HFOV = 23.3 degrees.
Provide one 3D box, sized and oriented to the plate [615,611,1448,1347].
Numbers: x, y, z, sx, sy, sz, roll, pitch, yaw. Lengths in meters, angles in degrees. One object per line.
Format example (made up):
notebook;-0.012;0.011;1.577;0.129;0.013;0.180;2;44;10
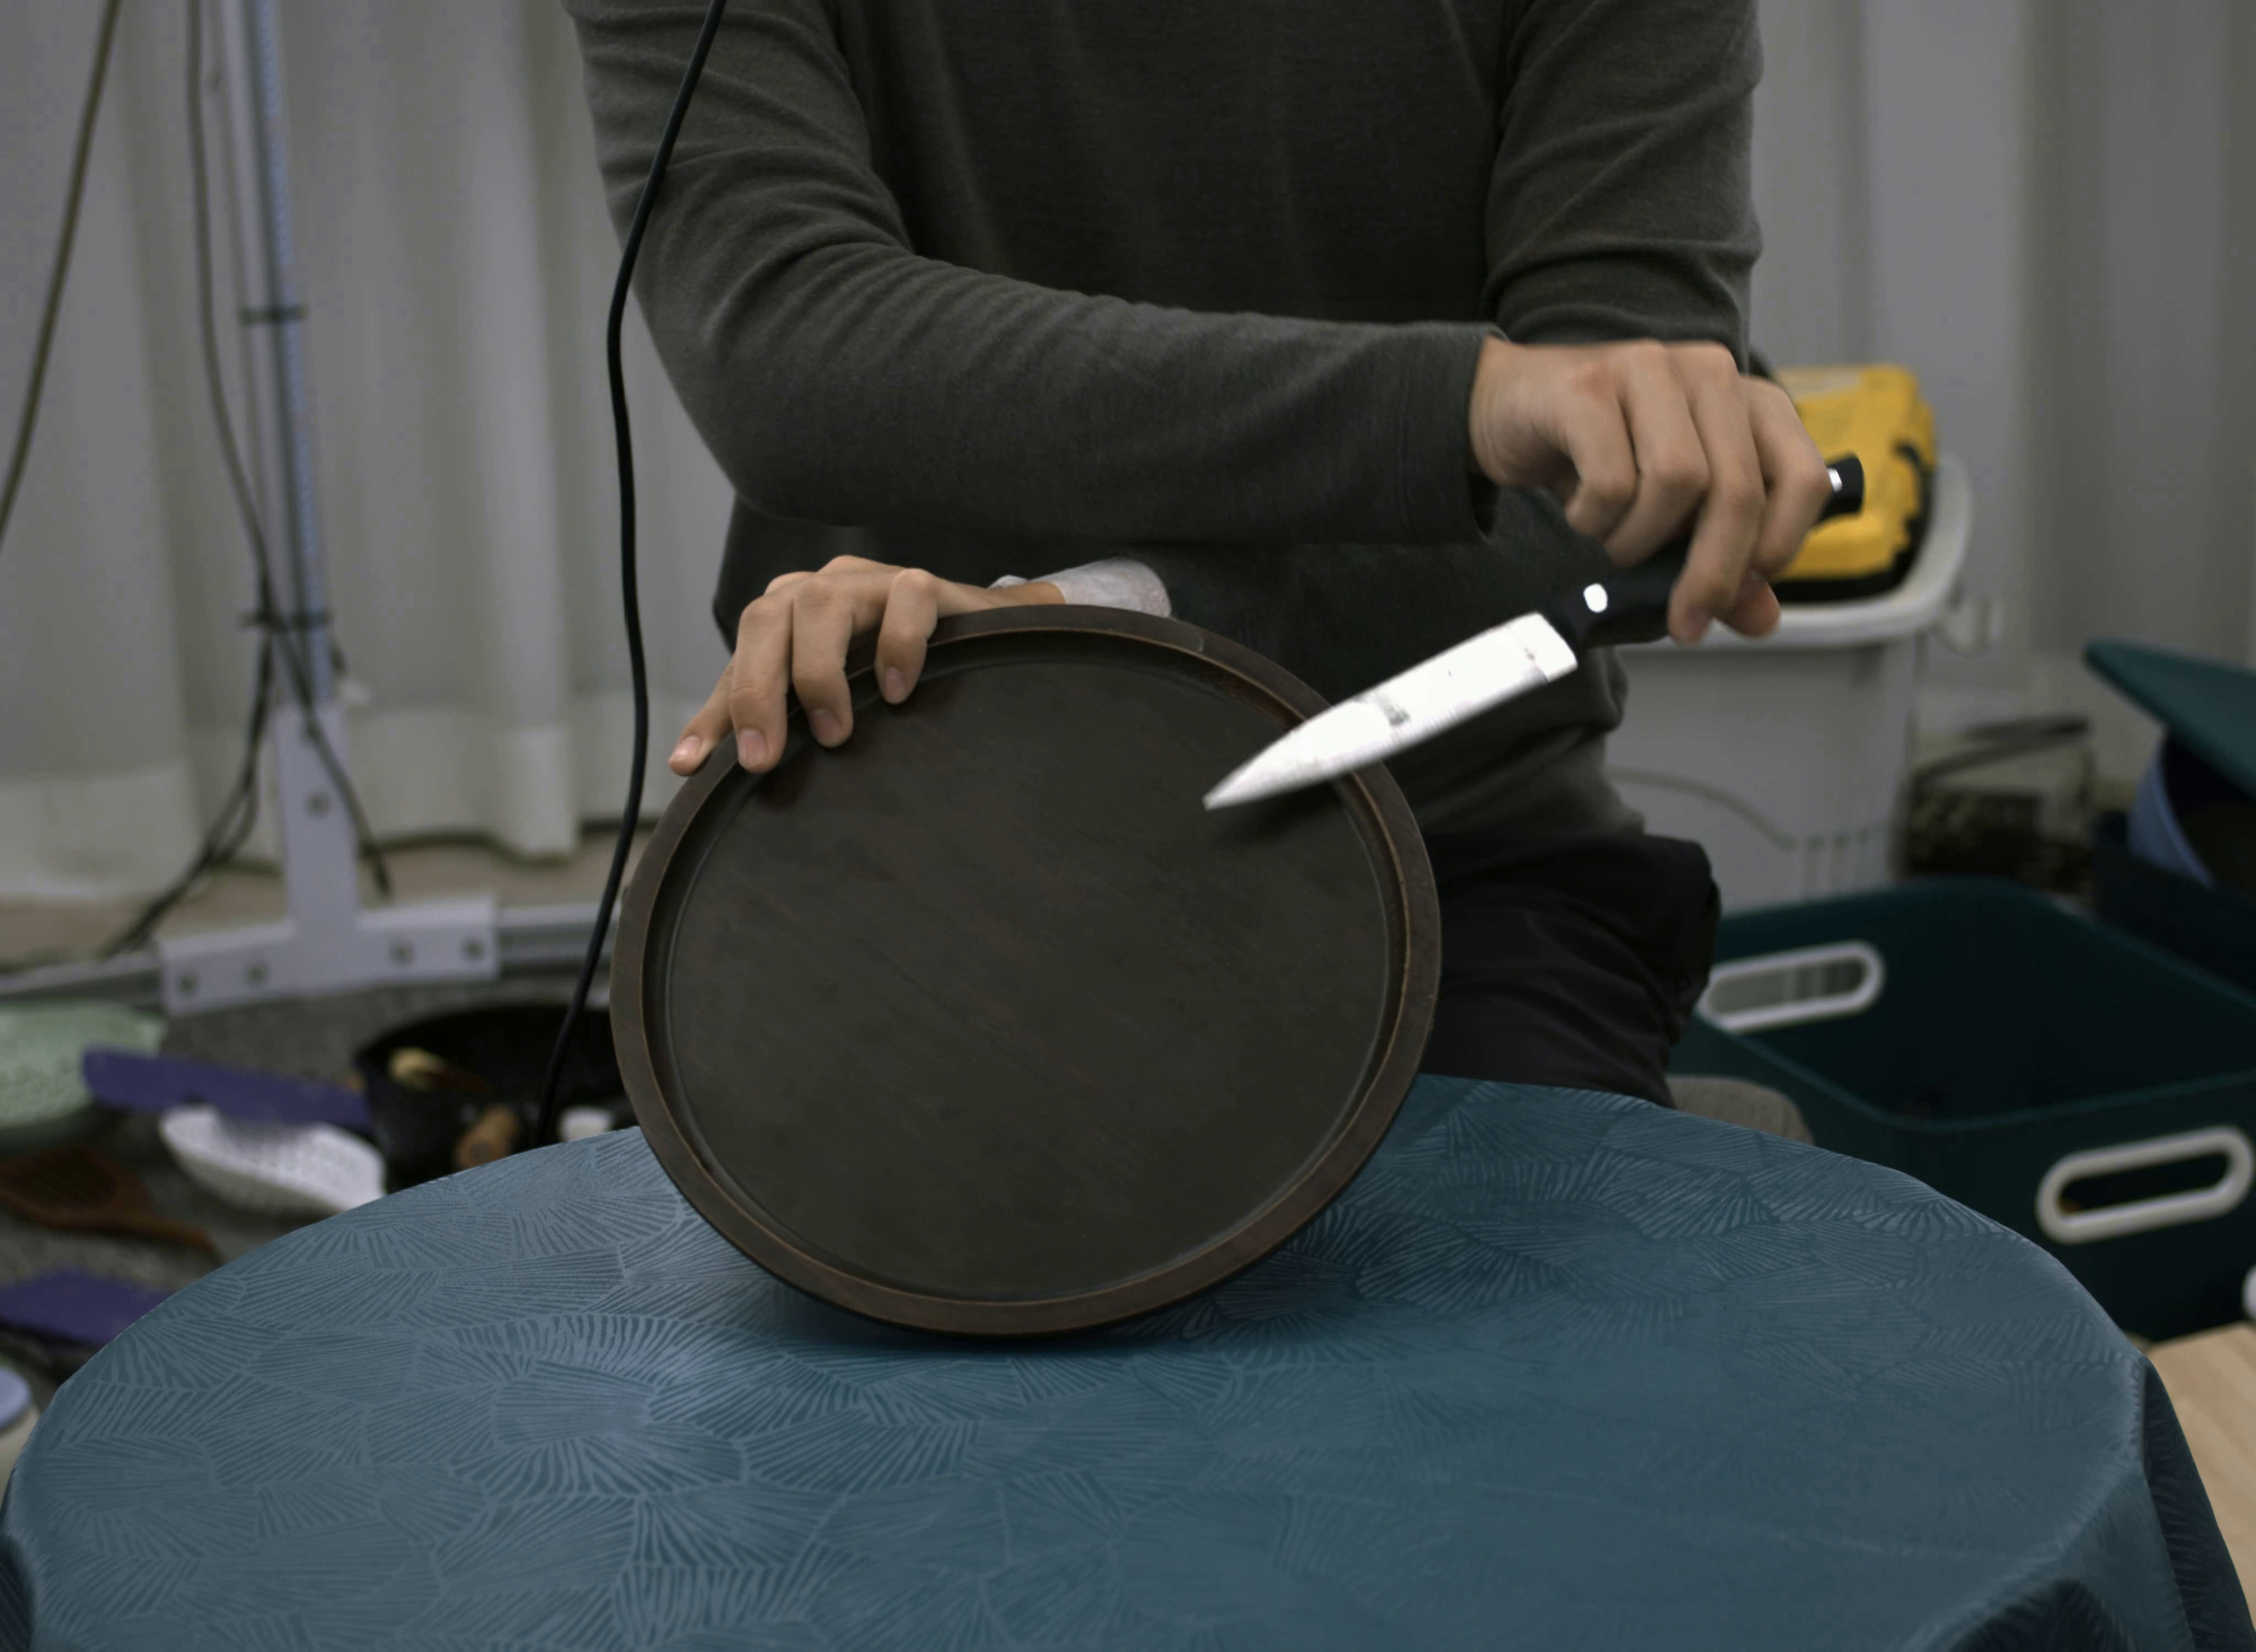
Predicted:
plate;-0.029;0.044;1.652;0.254;0.028;0.258;-3;58;4

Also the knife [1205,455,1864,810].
knife;0.124;-0.060;1.691;0.238;0.025;0.016;-27;-21;-14
